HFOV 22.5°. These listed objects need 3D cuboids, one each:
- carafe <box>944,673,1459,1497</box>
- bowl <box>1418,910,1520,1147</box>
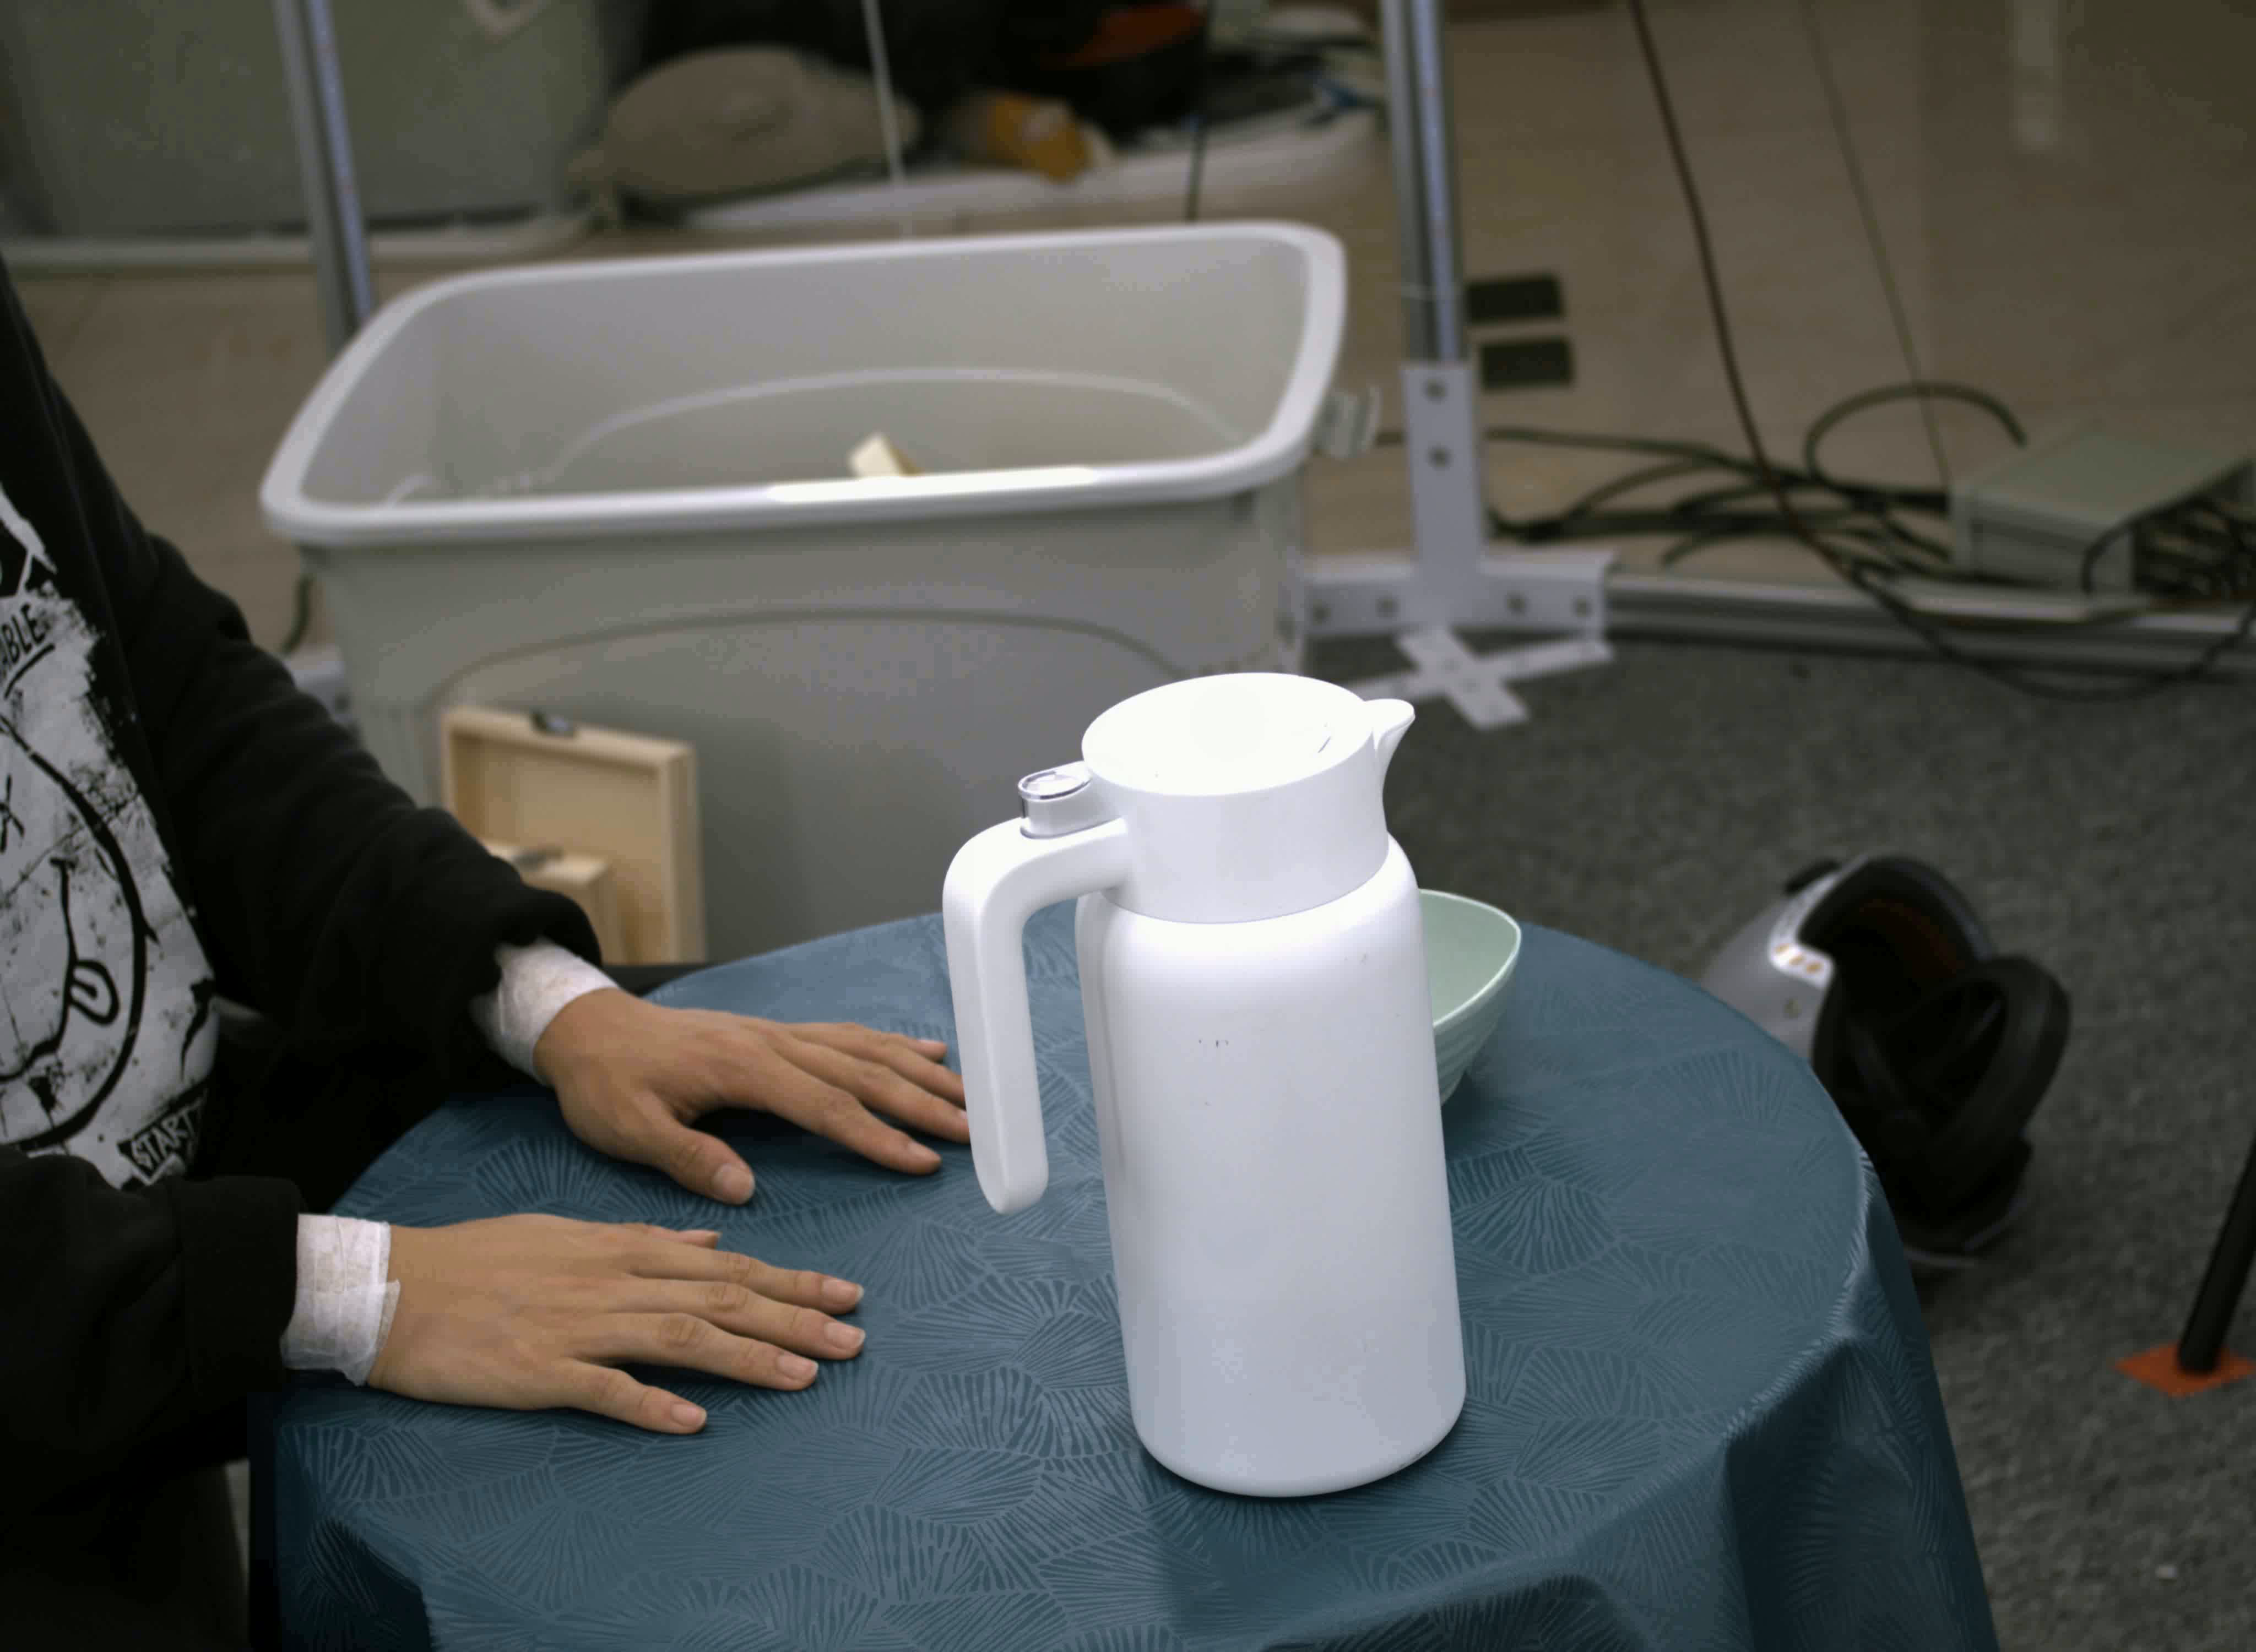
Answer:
[{"bbox_3d":[0.031,0.093,1.920,0.172,0.273,0.122,-17,30,-21],"label":"carafe"},{"bbox_3d":[0.084,0.088,2.191,0.151,0.059,0.149,-12,23,5],"label":"bowl"}]
